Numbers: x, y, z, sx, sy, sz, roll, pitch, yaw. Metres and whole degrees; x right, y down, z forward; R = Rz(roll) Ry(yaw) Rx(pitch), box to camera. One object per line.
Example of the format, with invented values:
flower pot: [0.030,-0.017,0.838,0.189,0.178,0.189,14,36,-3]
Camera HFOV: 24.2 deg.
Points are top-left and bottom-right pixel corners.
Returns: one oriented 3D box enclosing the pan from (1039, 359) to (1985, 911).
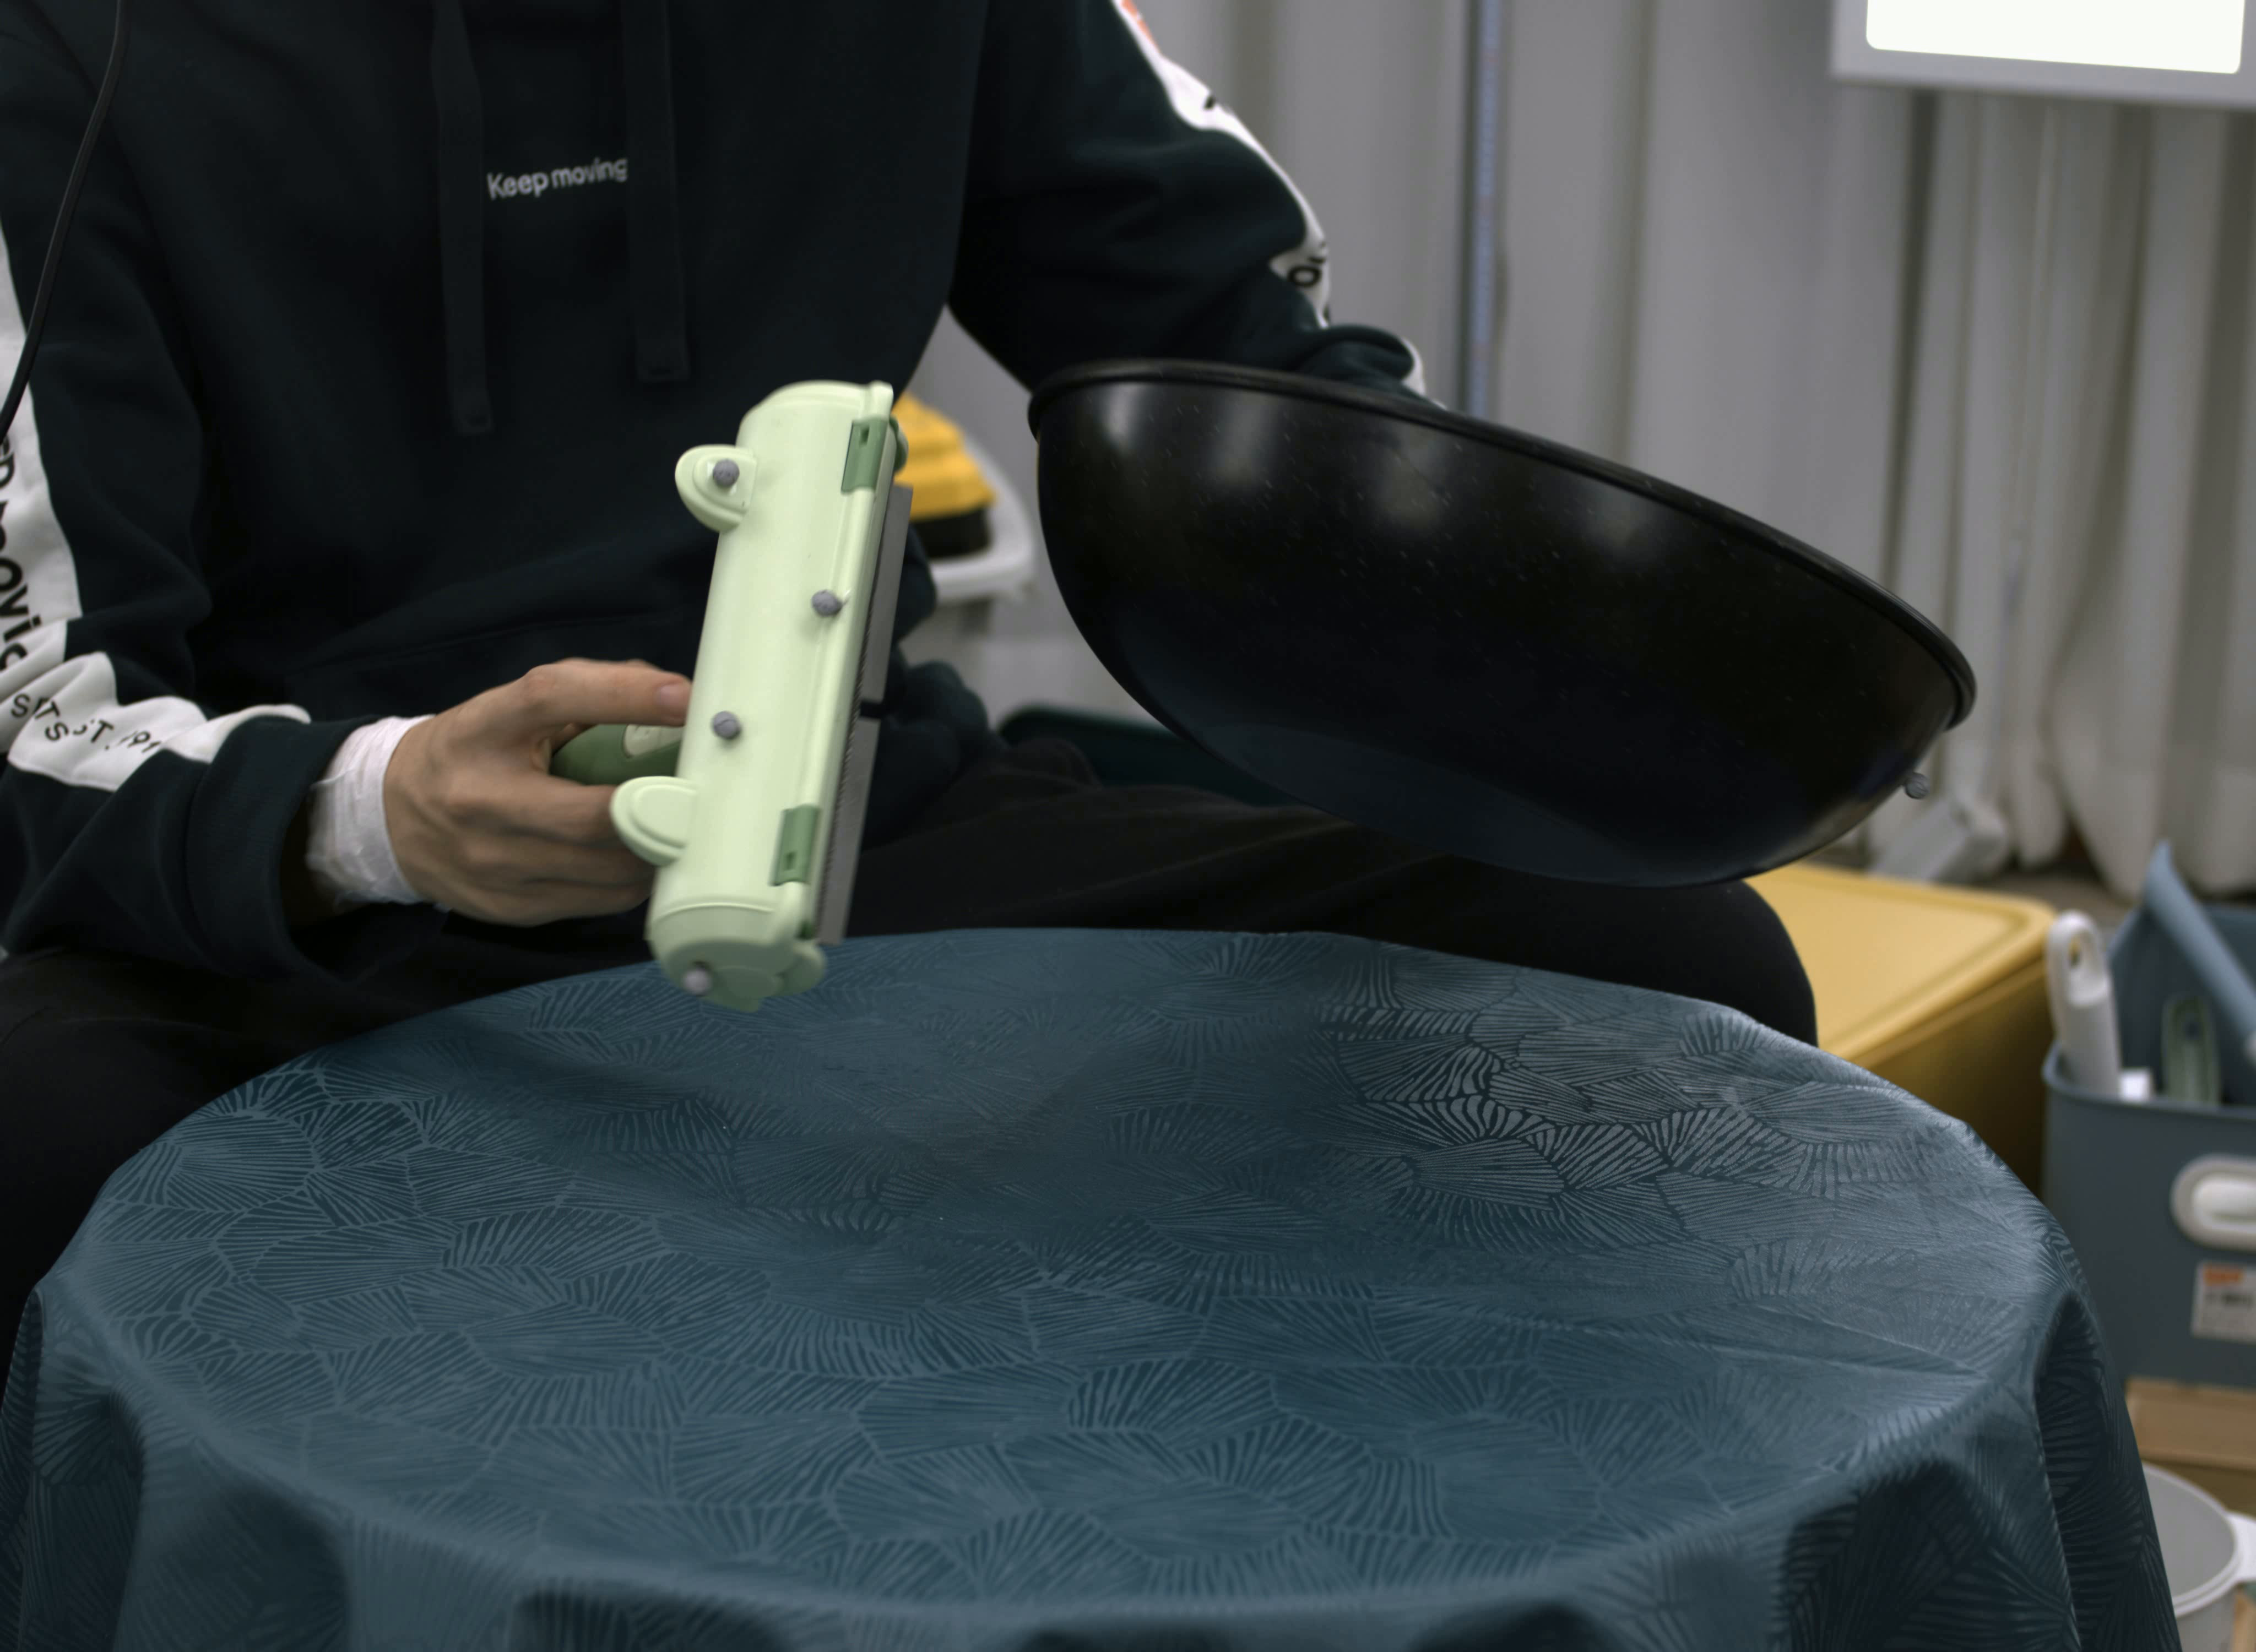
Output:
pan: [0.101,-0.043,1.715,0.310,0.111,0.477,20,-9,-3]

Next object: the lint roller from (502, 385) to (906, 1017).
lint roller: [-0.151,-0.031,1.623,0.182,0.197,0.083,-16,-37,39]
